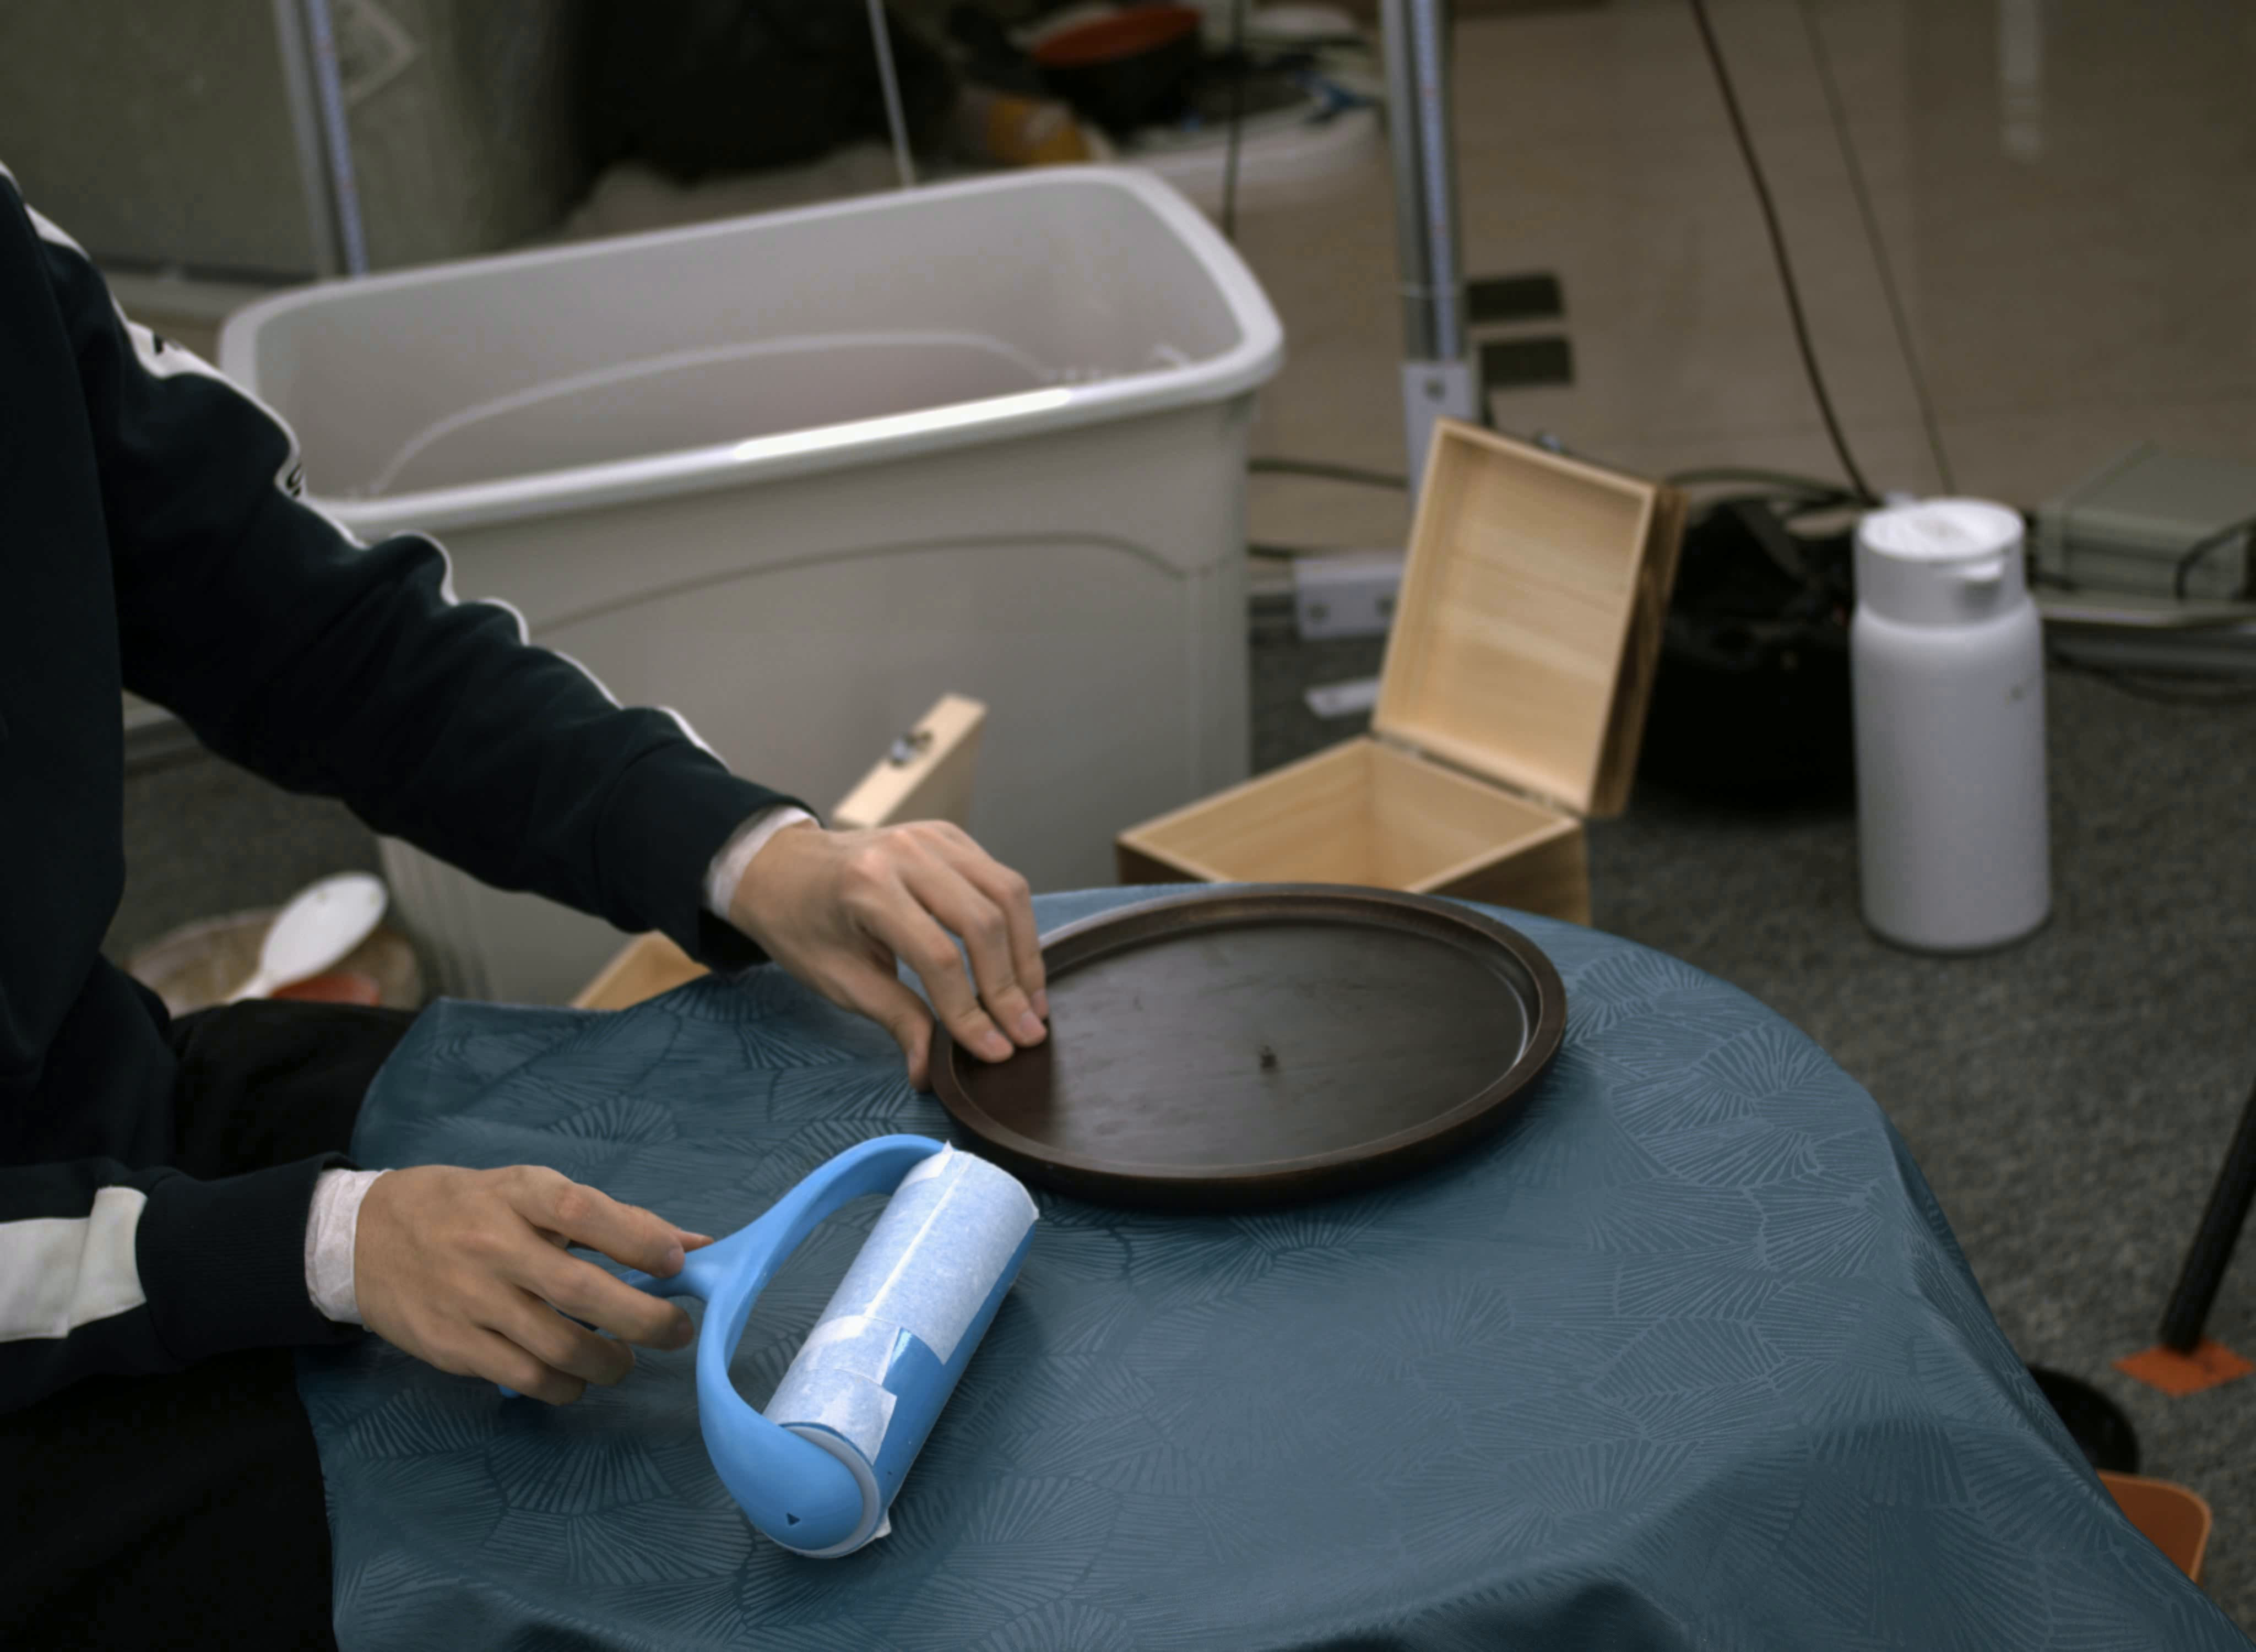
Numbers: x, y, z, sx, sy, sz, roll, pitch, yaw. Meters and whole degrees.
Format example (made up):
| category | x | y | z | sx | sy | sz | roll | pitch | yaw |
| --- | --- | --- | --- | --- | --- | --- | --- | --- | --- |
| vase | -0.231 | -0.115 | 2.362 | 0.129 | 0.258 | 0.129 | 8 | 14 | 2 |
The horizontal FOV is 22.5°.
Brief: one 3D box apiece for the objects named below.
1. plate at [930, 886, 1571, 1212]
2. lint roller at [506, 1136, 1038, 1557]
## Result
| category | x | y | z | sx | sy | sz | roll | pitch | yaw |
| --- | --- | --- | --- | --- | --- | --- | --- | --- | --- |
| plate | 0.048 | 0.086 | 2.218 | 0.254 | 0.029 | 0.251 | -5 | 24 | 2 |
| lint roller | -0.140 | 0.182 | 2.018 | 0.180 | 0.069 | 0.225 | 1 | 28 | 13 |
